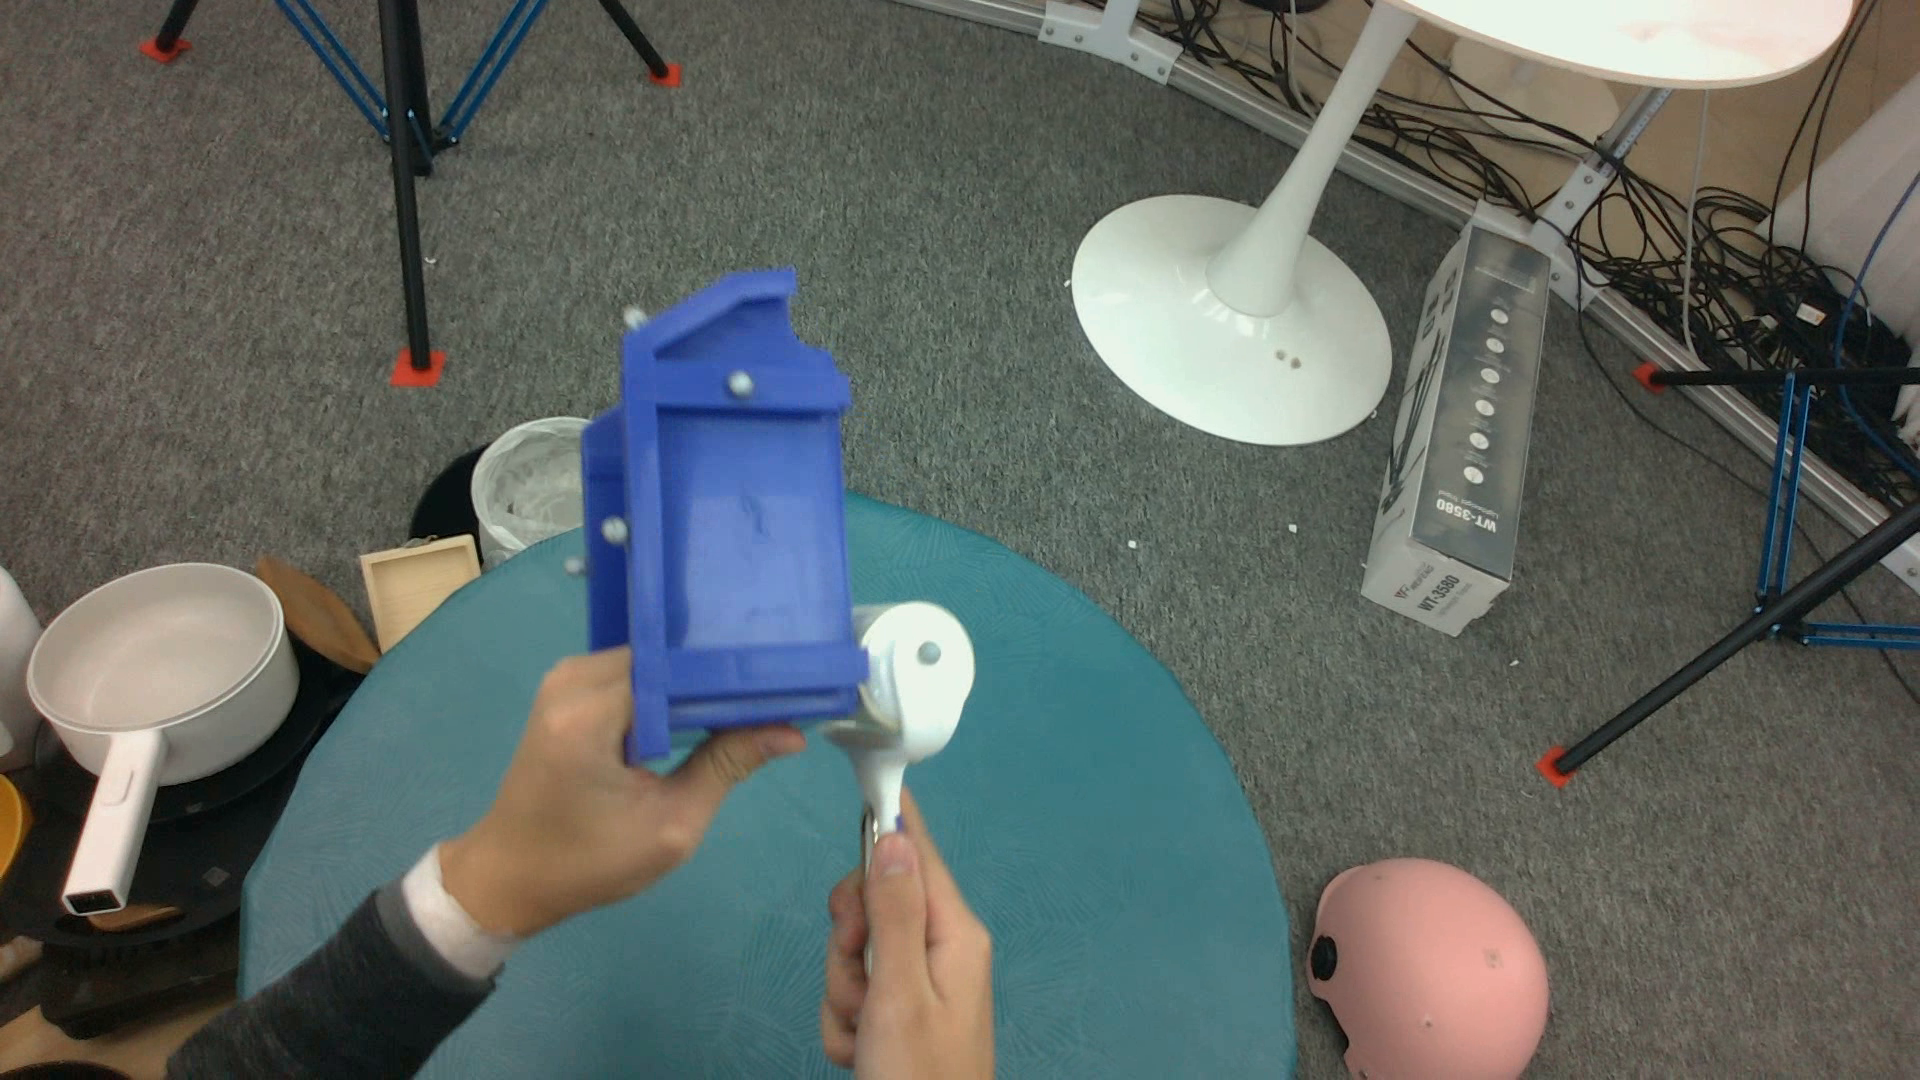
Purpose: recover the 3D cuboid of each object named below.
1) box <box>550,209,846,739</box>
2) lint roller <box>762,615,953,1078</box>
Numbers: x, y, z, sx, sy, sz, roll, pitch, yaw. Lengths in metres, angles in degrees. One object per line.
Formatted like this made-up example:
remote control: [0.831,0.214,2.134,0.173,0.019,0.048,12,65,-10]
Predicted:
box: [-0.108,-0.021,0.535,0.082,0.124,0.179,-3,78,-24]
lint roller: [-0.030,0.118,0.544,0.050,0.132,0.181,-12,89,-26]
